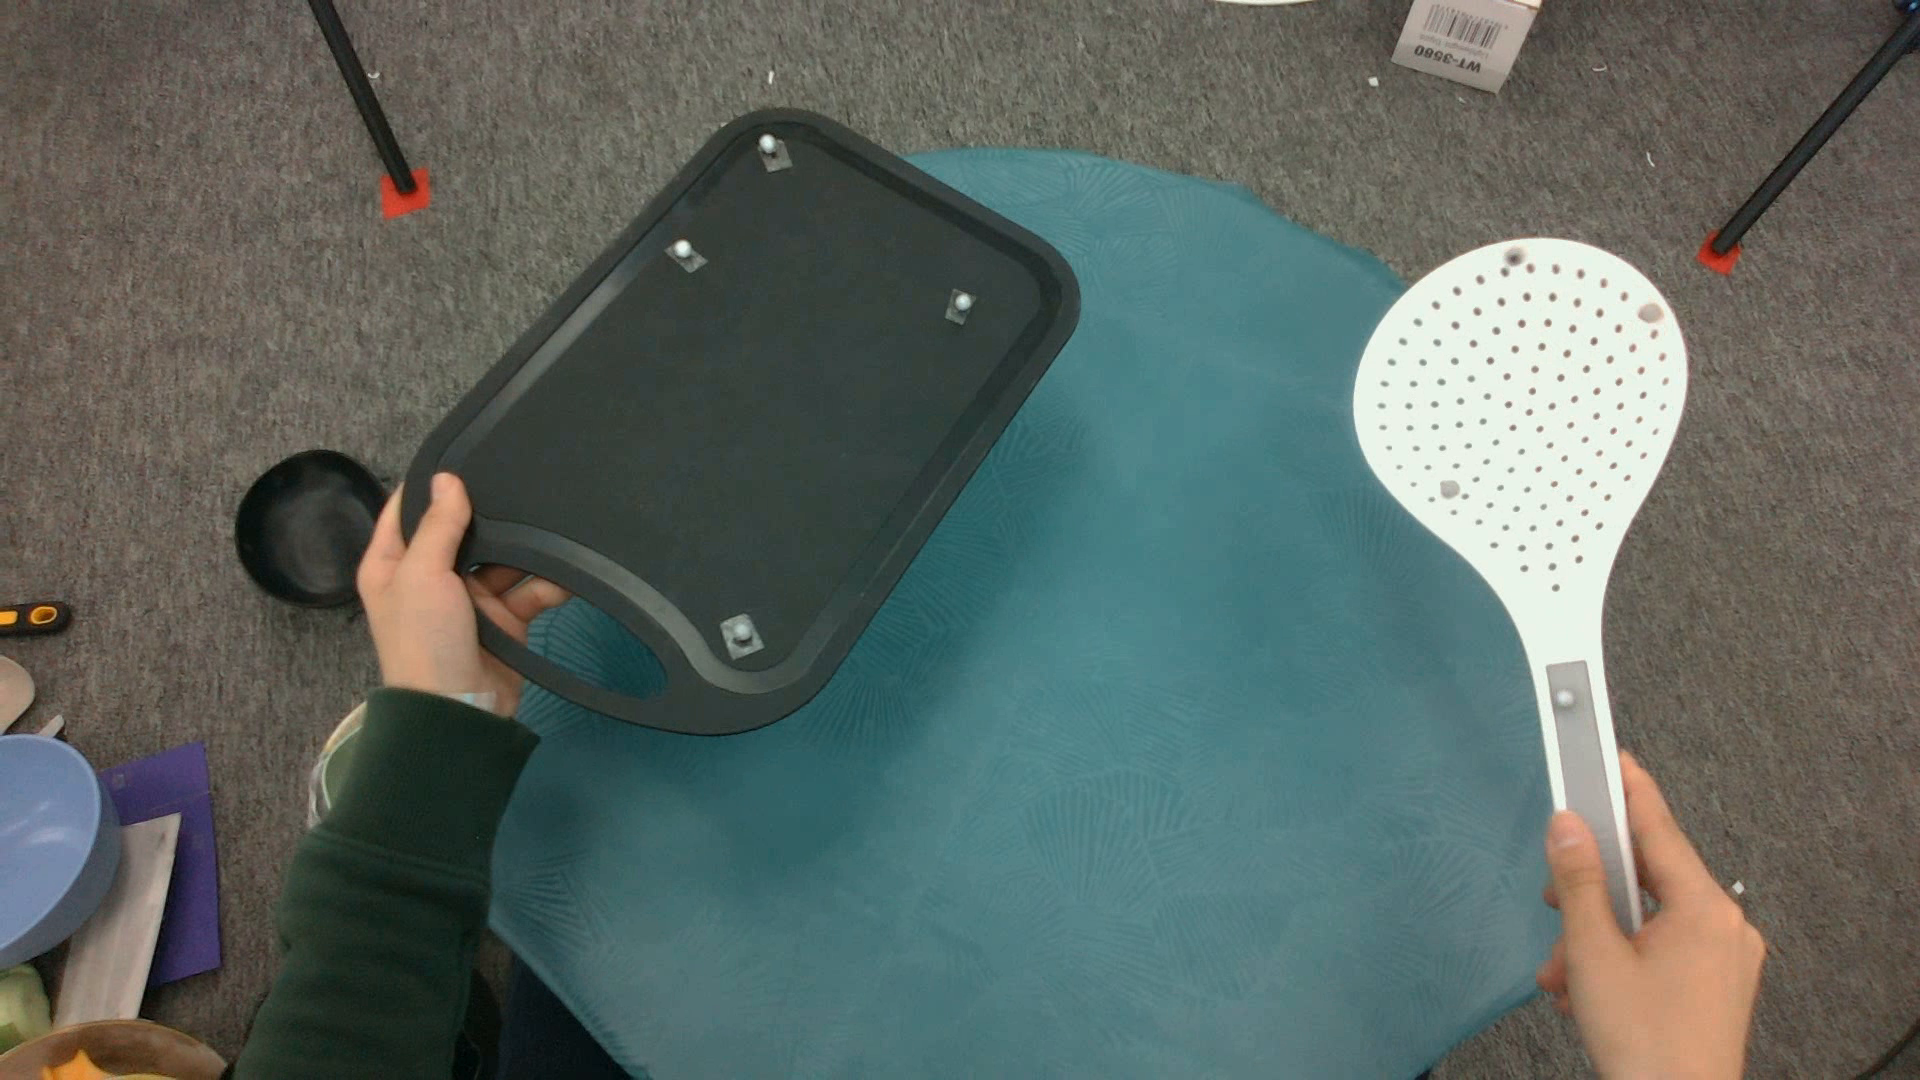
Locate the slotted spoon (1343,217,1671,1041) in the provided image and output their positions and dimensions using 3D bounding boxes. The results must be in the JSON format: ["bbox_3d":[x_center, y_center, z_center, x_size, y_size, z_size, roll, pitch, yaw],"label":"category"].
[{"bbox_3d":[0.243,0.025,0.581,0.136,0.045,0.351,-9,66,23],"label":"slotted spoon"}]

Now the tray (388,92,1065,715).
[{"bbox_3d":[-0.101,-0.075,0.635,0.211,0.010,0.327,30,64,8],"label":"tray"}]
